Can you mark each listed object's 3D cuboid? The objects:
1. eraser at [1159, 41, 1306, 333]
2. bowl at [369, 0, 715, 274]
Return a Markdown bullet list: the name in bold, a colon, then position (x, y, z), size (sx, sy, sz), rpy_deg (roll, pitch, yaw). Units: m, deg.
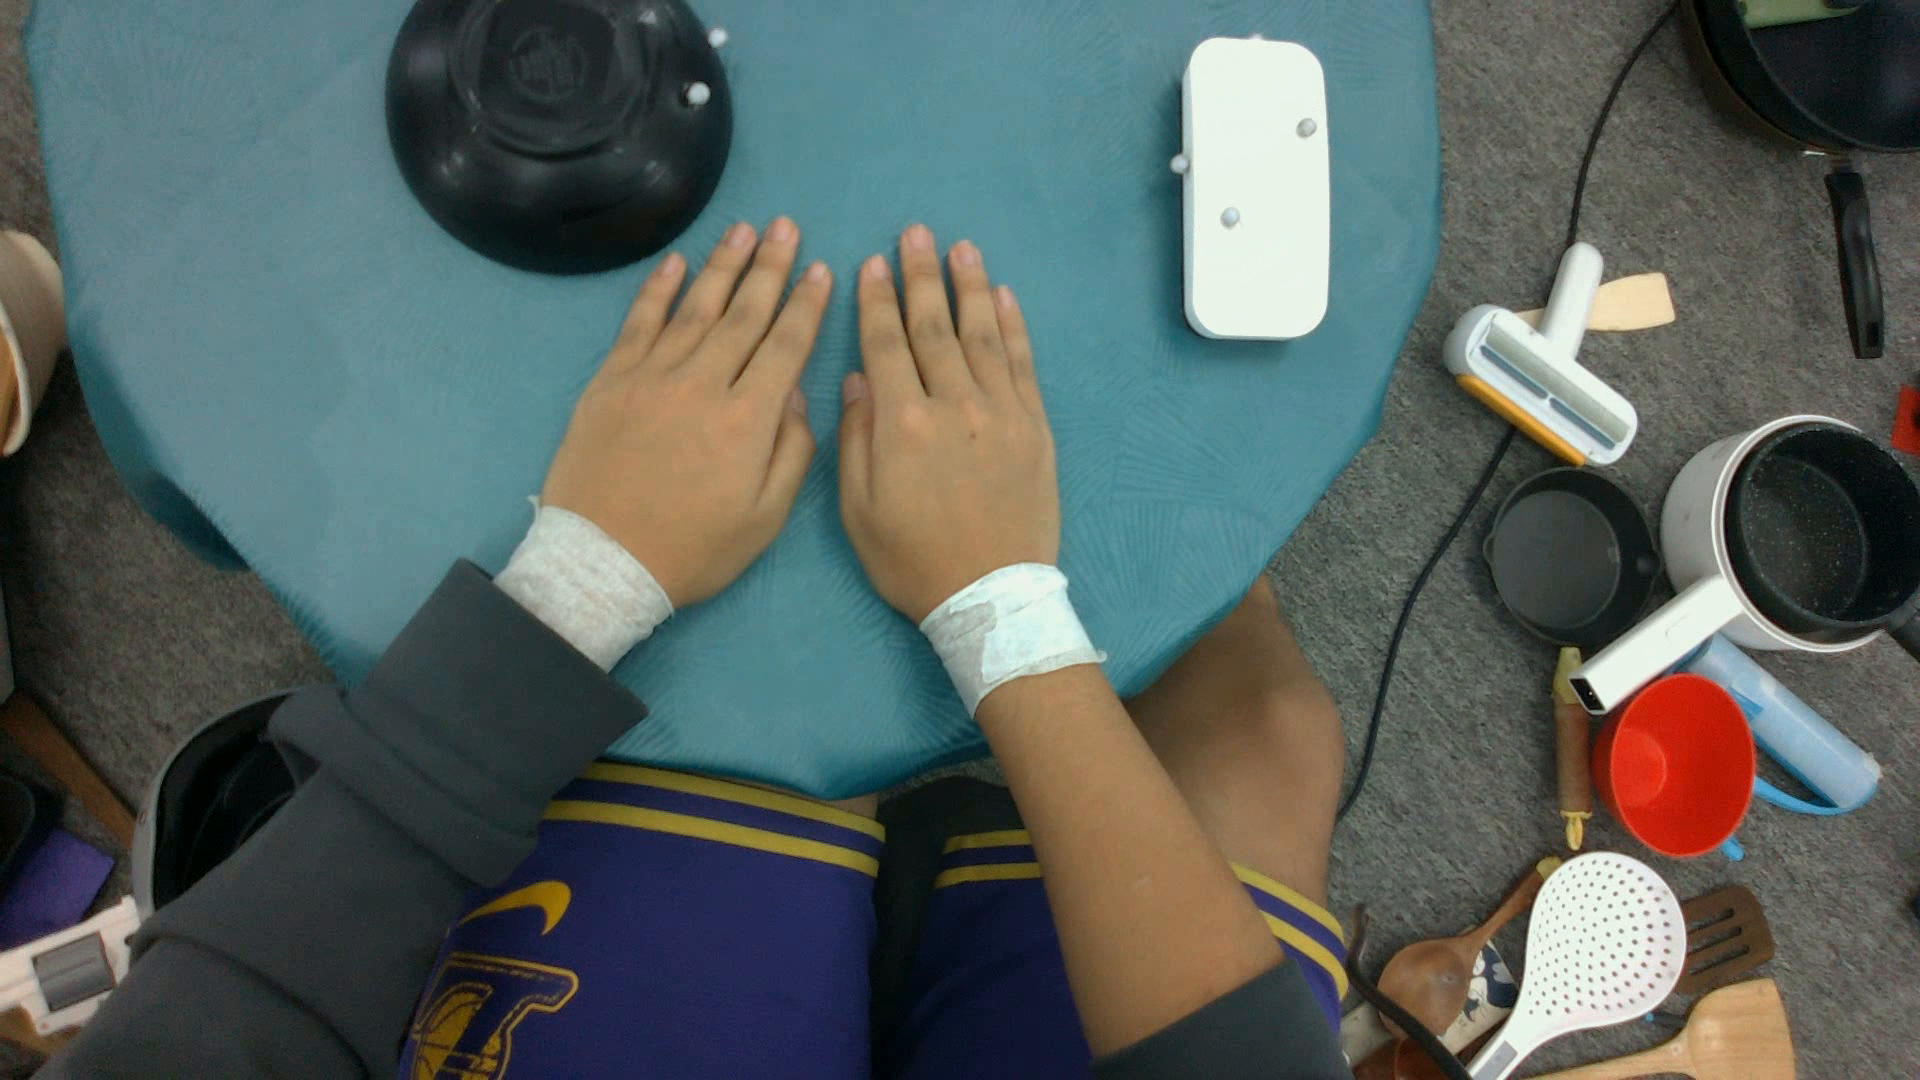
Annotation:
- **eraser**: position (0.119, -0.157, 0.614), size (0.063, 0.034, 0.131), rpy_deg (2, 82, -9)
- **bowl**: position (-0.169, -0.181, 0.554), size (0.140, 0.049, 0.140), rpy_deg (2, 82, -12)
